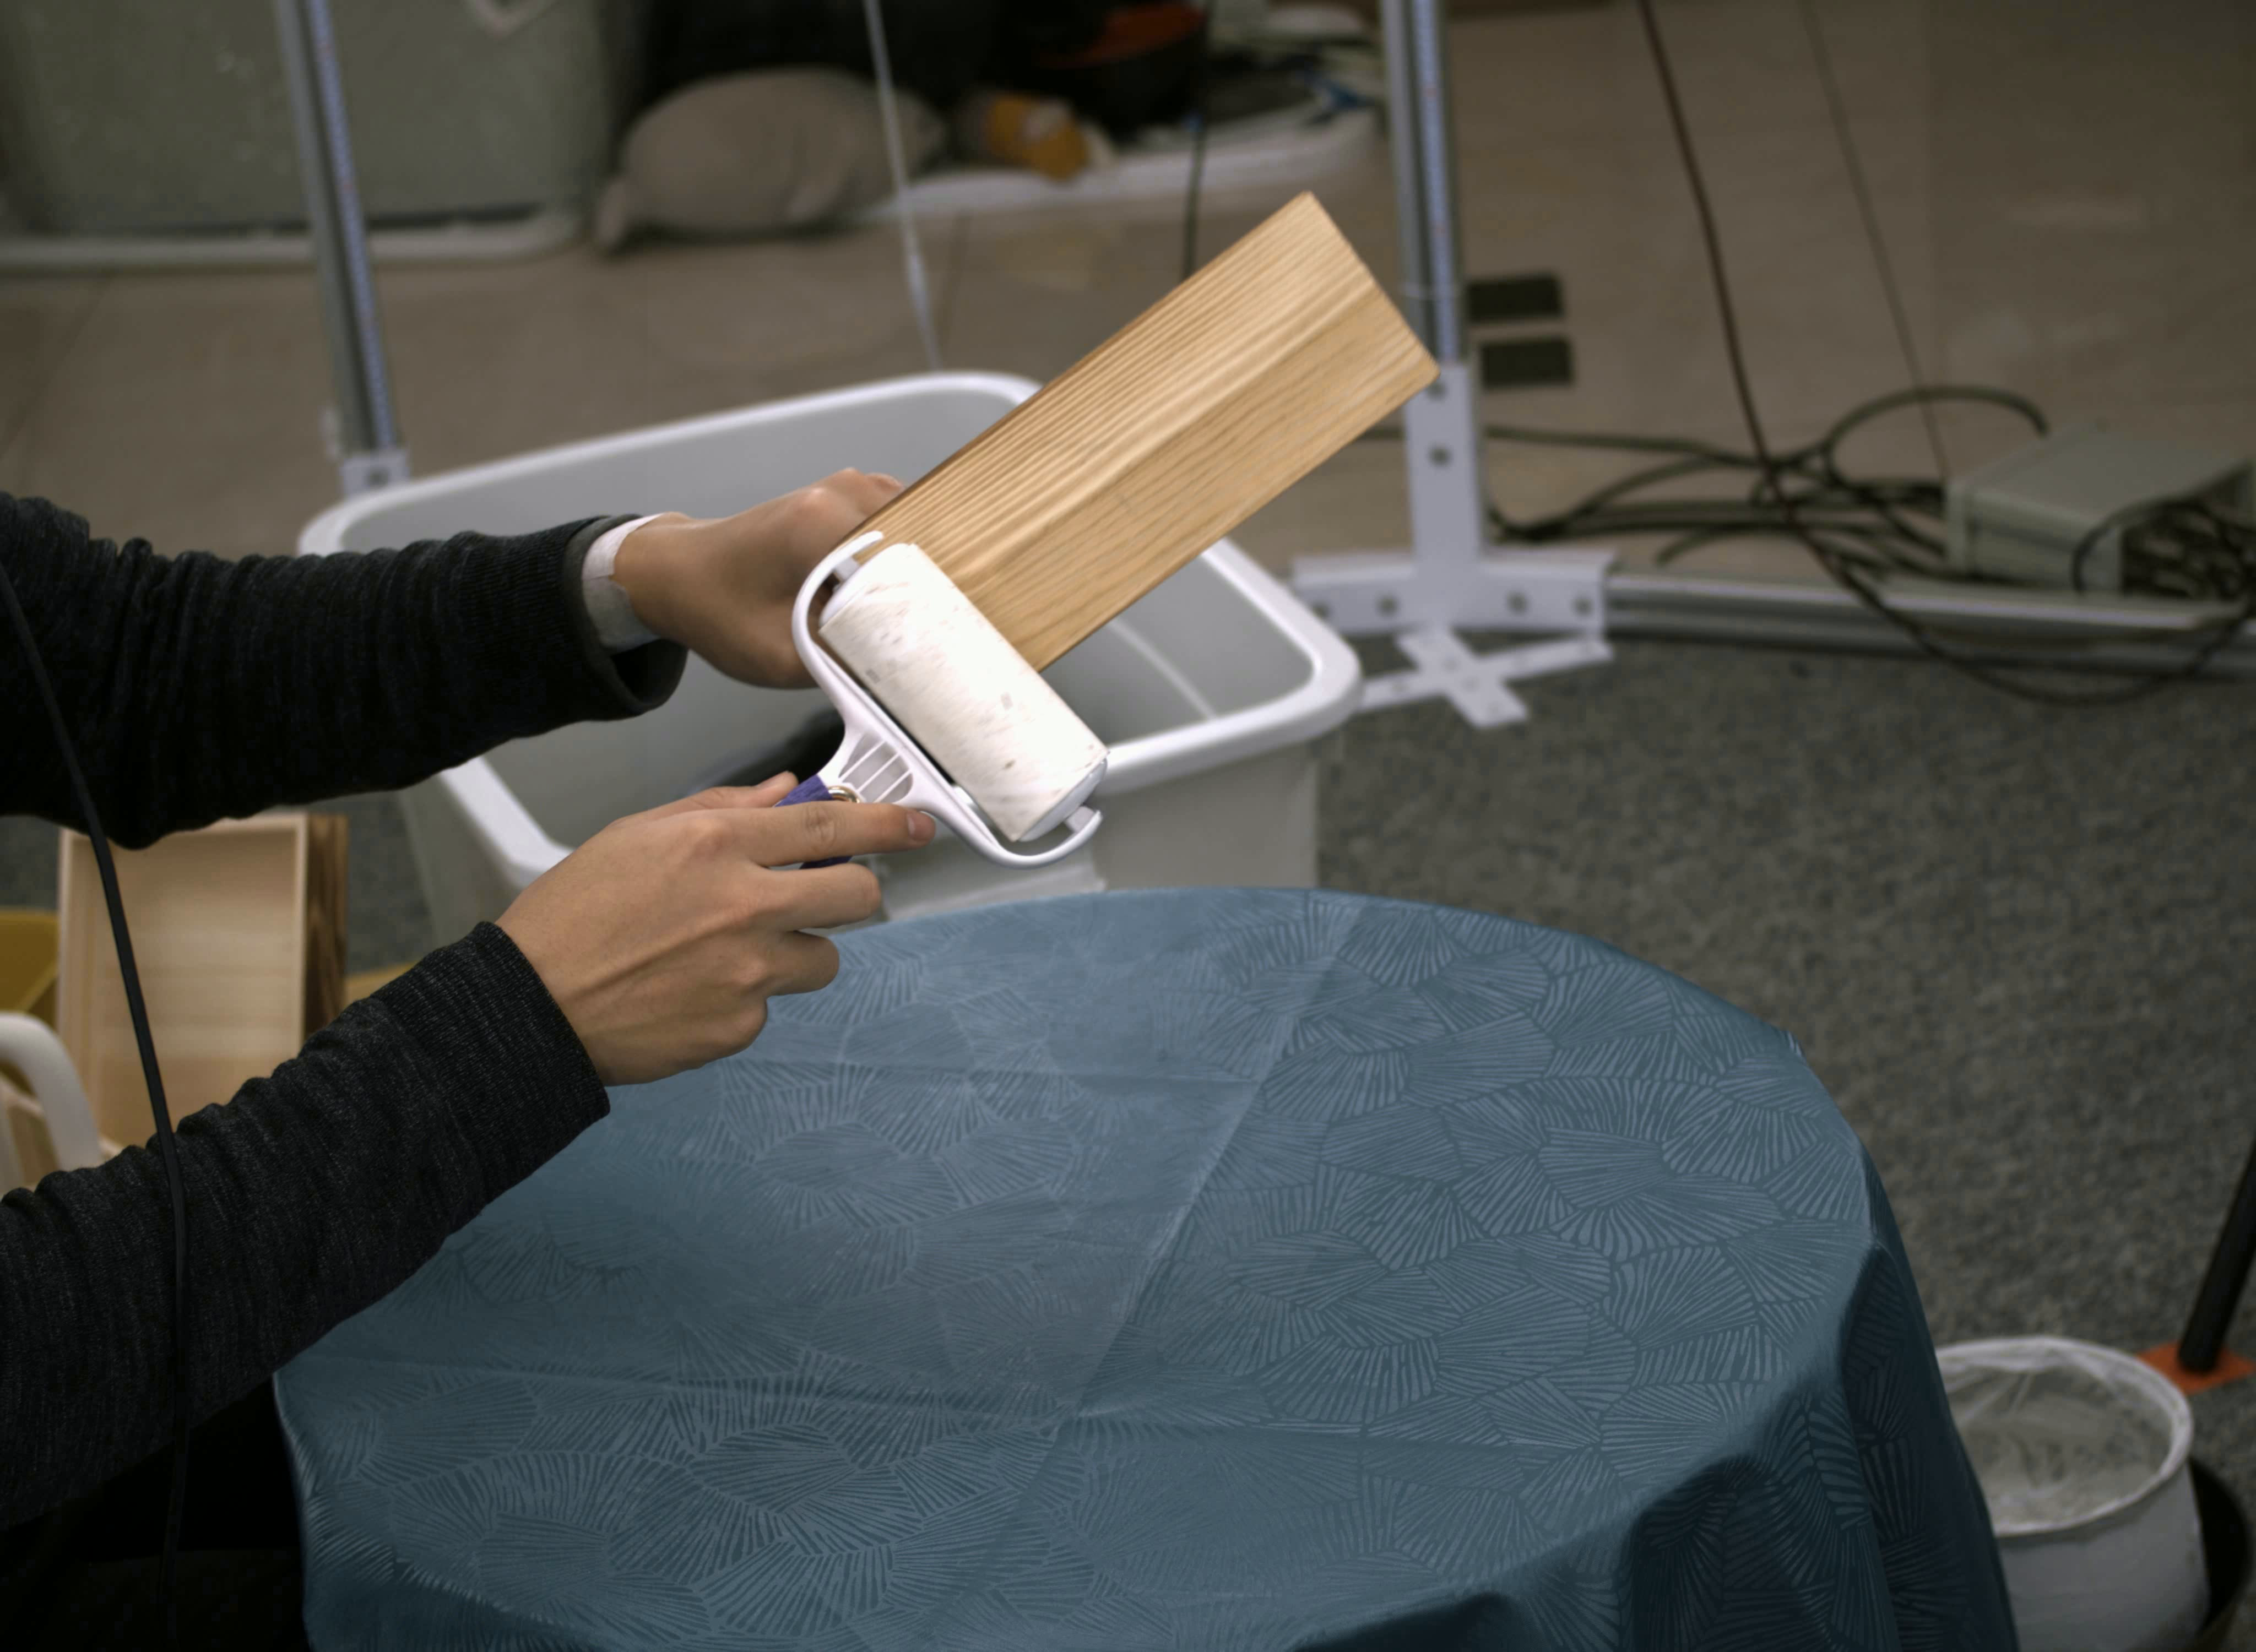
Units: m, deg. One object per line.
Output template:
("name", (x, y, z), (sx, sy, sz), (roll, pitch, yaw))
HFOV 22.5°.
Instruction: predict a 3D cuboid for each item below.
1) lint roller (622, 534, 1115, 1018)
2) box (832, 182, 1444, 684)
("lint roller", (-0.104, -0.003, 1.927), (0.179, 0.133, 0.050), (-42, 5, -18))
("box", (0.005, -0.133, 2.006), (0.212, 0.080, 0.107), (-37, 4, 6))
